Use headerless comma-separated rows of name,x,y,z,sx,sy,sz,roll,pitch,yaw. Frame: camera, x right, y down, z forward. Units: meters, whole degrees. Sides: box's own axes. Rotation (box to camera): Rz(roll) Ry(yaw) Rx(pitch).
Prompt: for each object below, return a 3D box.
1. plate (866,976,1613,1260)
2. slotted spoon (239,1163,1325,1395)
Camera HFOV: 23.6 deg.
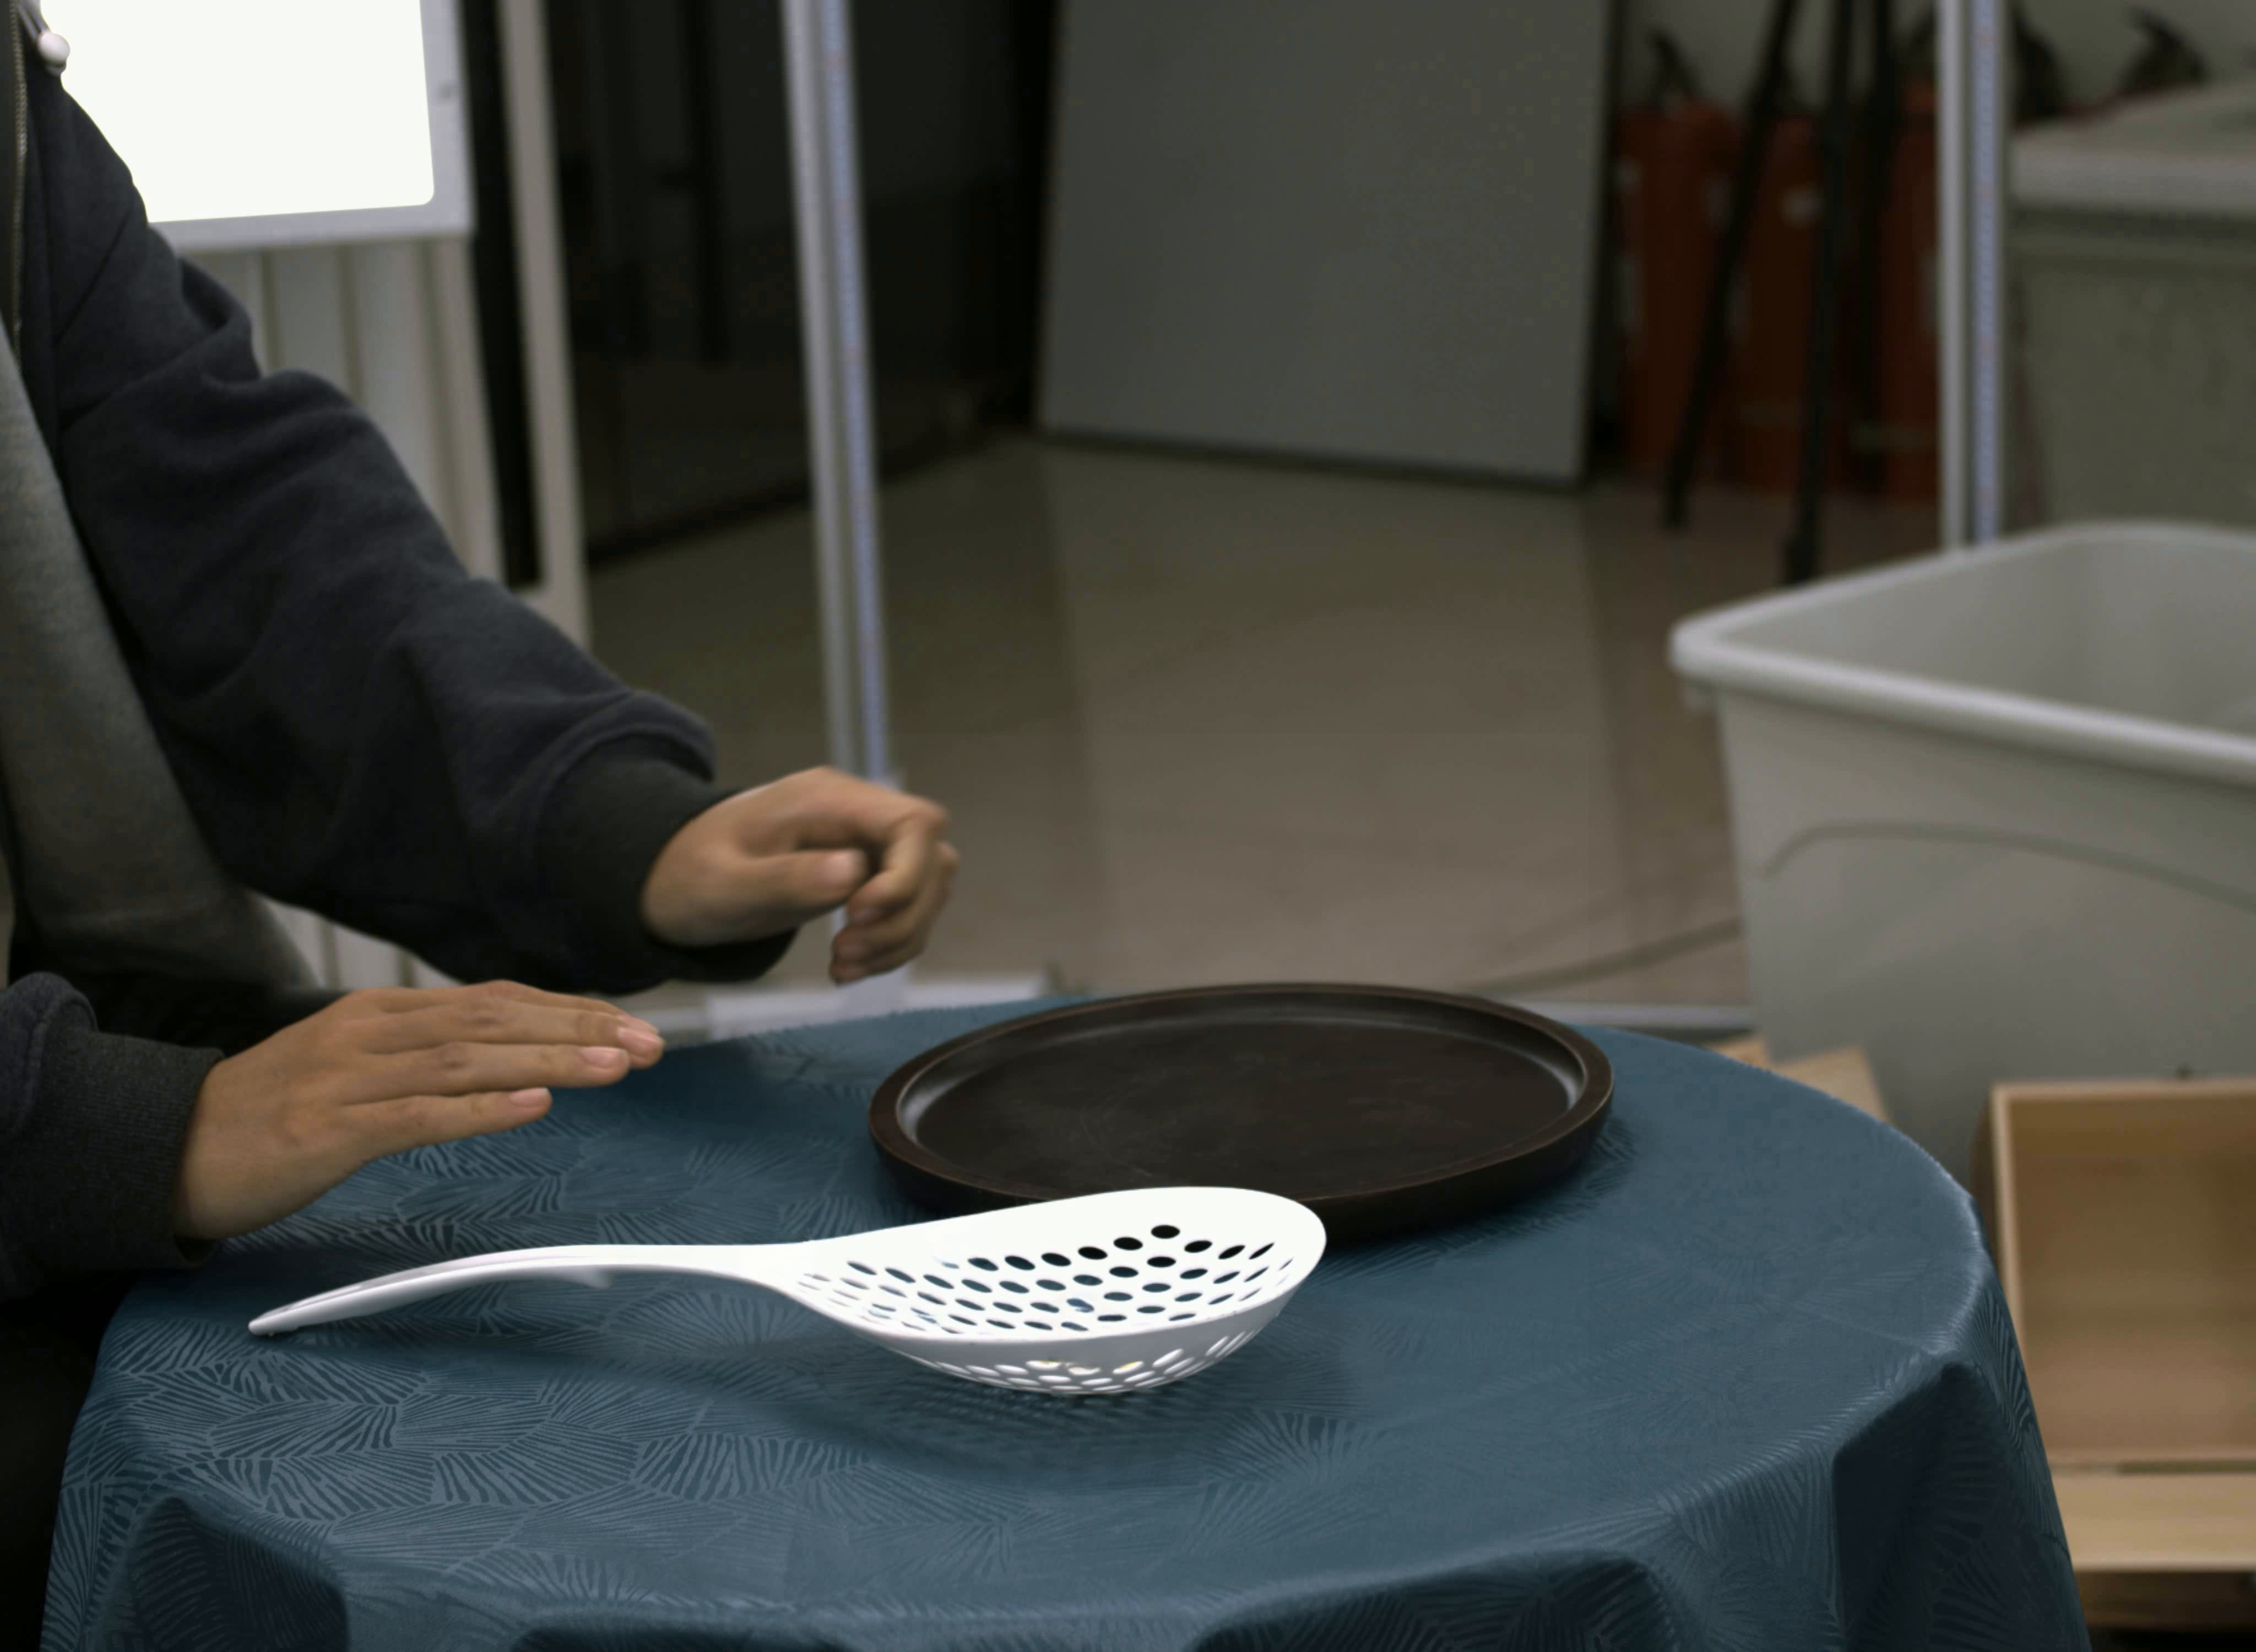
plate,0.037,0.099,1.801,0.251,0.029,0.255,-5,15,0
slotted spoon,-0.109,0.142,1.626,0.347,0.051,0.135,1,17,19
